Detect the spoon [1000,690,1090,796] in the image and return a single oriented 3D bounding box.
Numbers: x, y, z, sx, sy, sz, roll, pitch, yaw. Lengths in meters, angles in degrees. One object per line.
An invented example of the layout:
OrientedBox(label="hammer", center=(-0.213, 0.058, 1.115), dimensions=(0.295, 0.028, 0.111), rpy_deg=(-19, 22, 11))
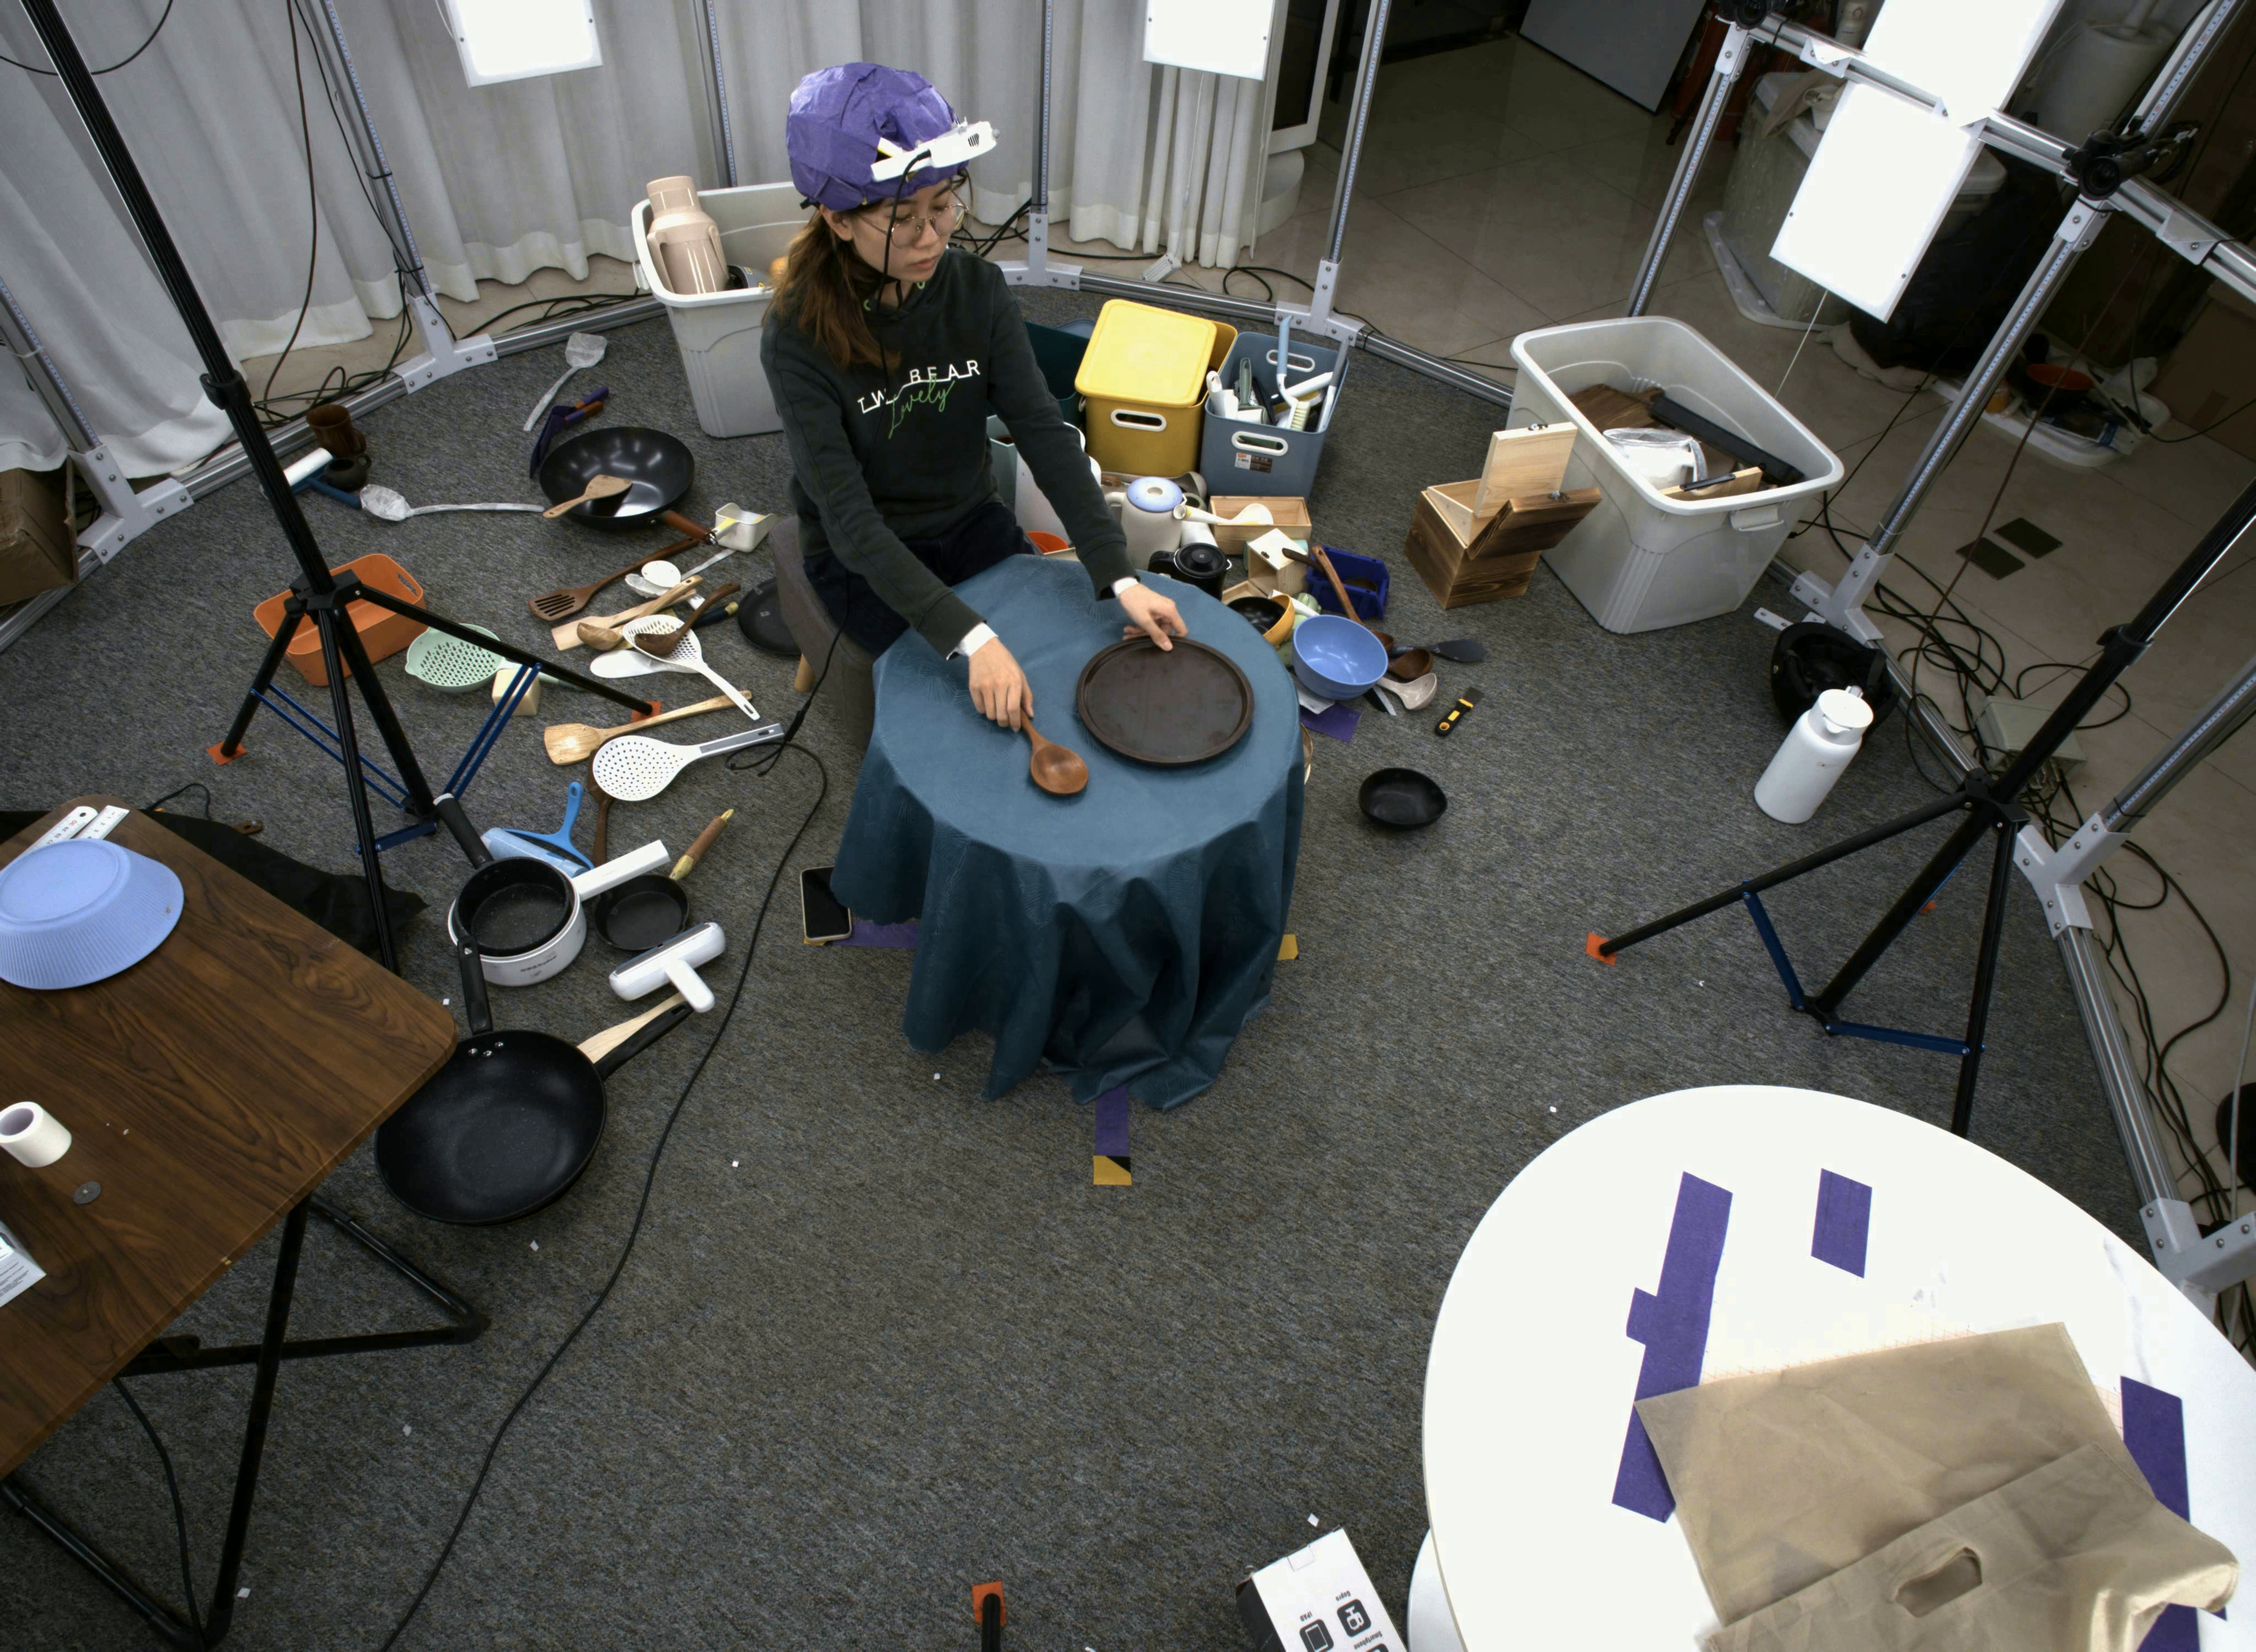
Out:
OrientedBox(label="spoon", center=(-0.122, -0.115, 1.765), dimensions=(0.075, 0.017, 0.220), rpy_deg=(-21, 53, -20))

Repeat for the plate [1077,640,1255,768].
OrientedBox(label="plate", center=(0.054, -0.176, 1.826), dimensions=(0.254, 0.028, 0.261), rpy_deg=(3, 49, -3))
